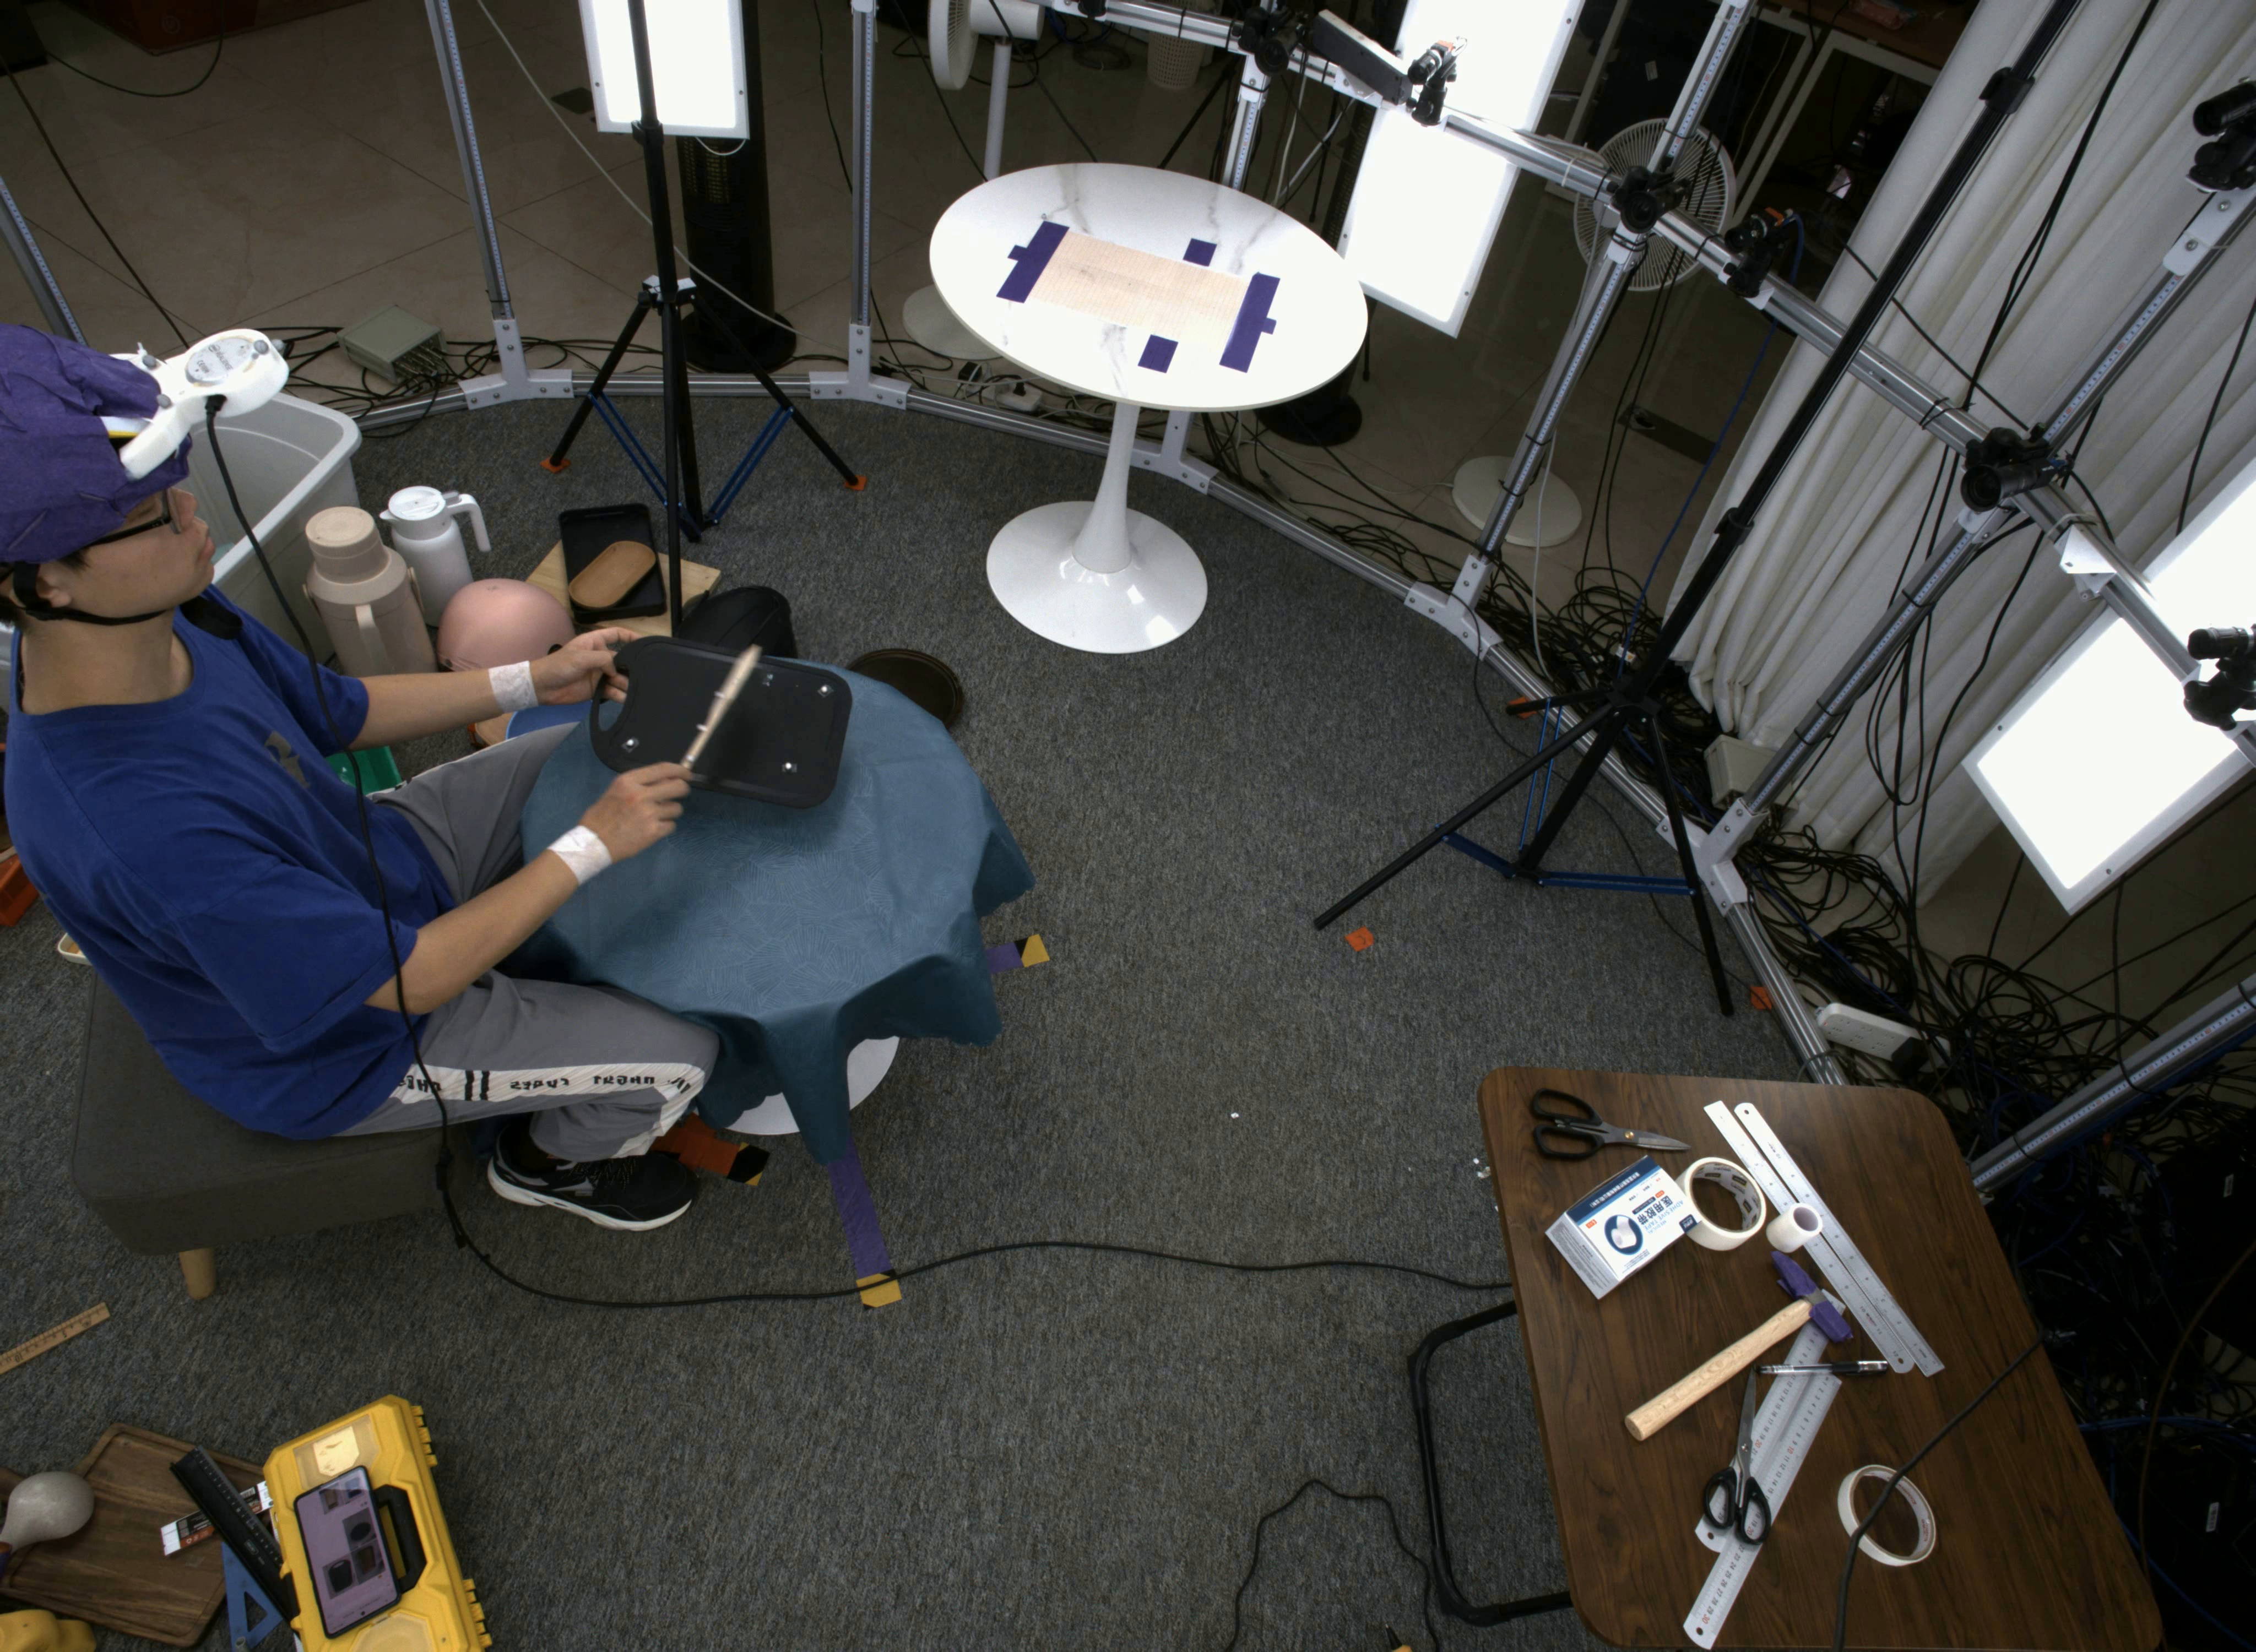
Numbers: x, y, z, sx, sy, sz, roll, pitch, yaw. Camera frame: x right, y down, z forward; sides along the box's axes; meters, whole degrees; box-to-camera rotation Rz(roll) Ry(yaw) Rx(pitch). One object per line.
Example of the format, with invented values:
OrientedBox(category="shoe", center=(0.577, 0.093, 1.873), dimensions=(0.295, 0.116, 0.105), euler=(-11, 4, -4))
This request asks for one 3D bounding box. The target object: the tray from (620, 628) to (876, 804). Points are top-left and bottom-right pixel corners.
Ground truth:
OrientedBox(category="tray", center=(-0.505, -0.150, 1.699), dimensions=(0.326, 0.010, 0.209), euler=(13, 65, -13))

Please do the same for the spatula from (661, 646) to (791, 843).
OrientedBox(category="spatula", center=(-0.497, -0.102, 1.594), dimensions=(0.011, 0.071, 0.292), euler=(37, 63, -23))
